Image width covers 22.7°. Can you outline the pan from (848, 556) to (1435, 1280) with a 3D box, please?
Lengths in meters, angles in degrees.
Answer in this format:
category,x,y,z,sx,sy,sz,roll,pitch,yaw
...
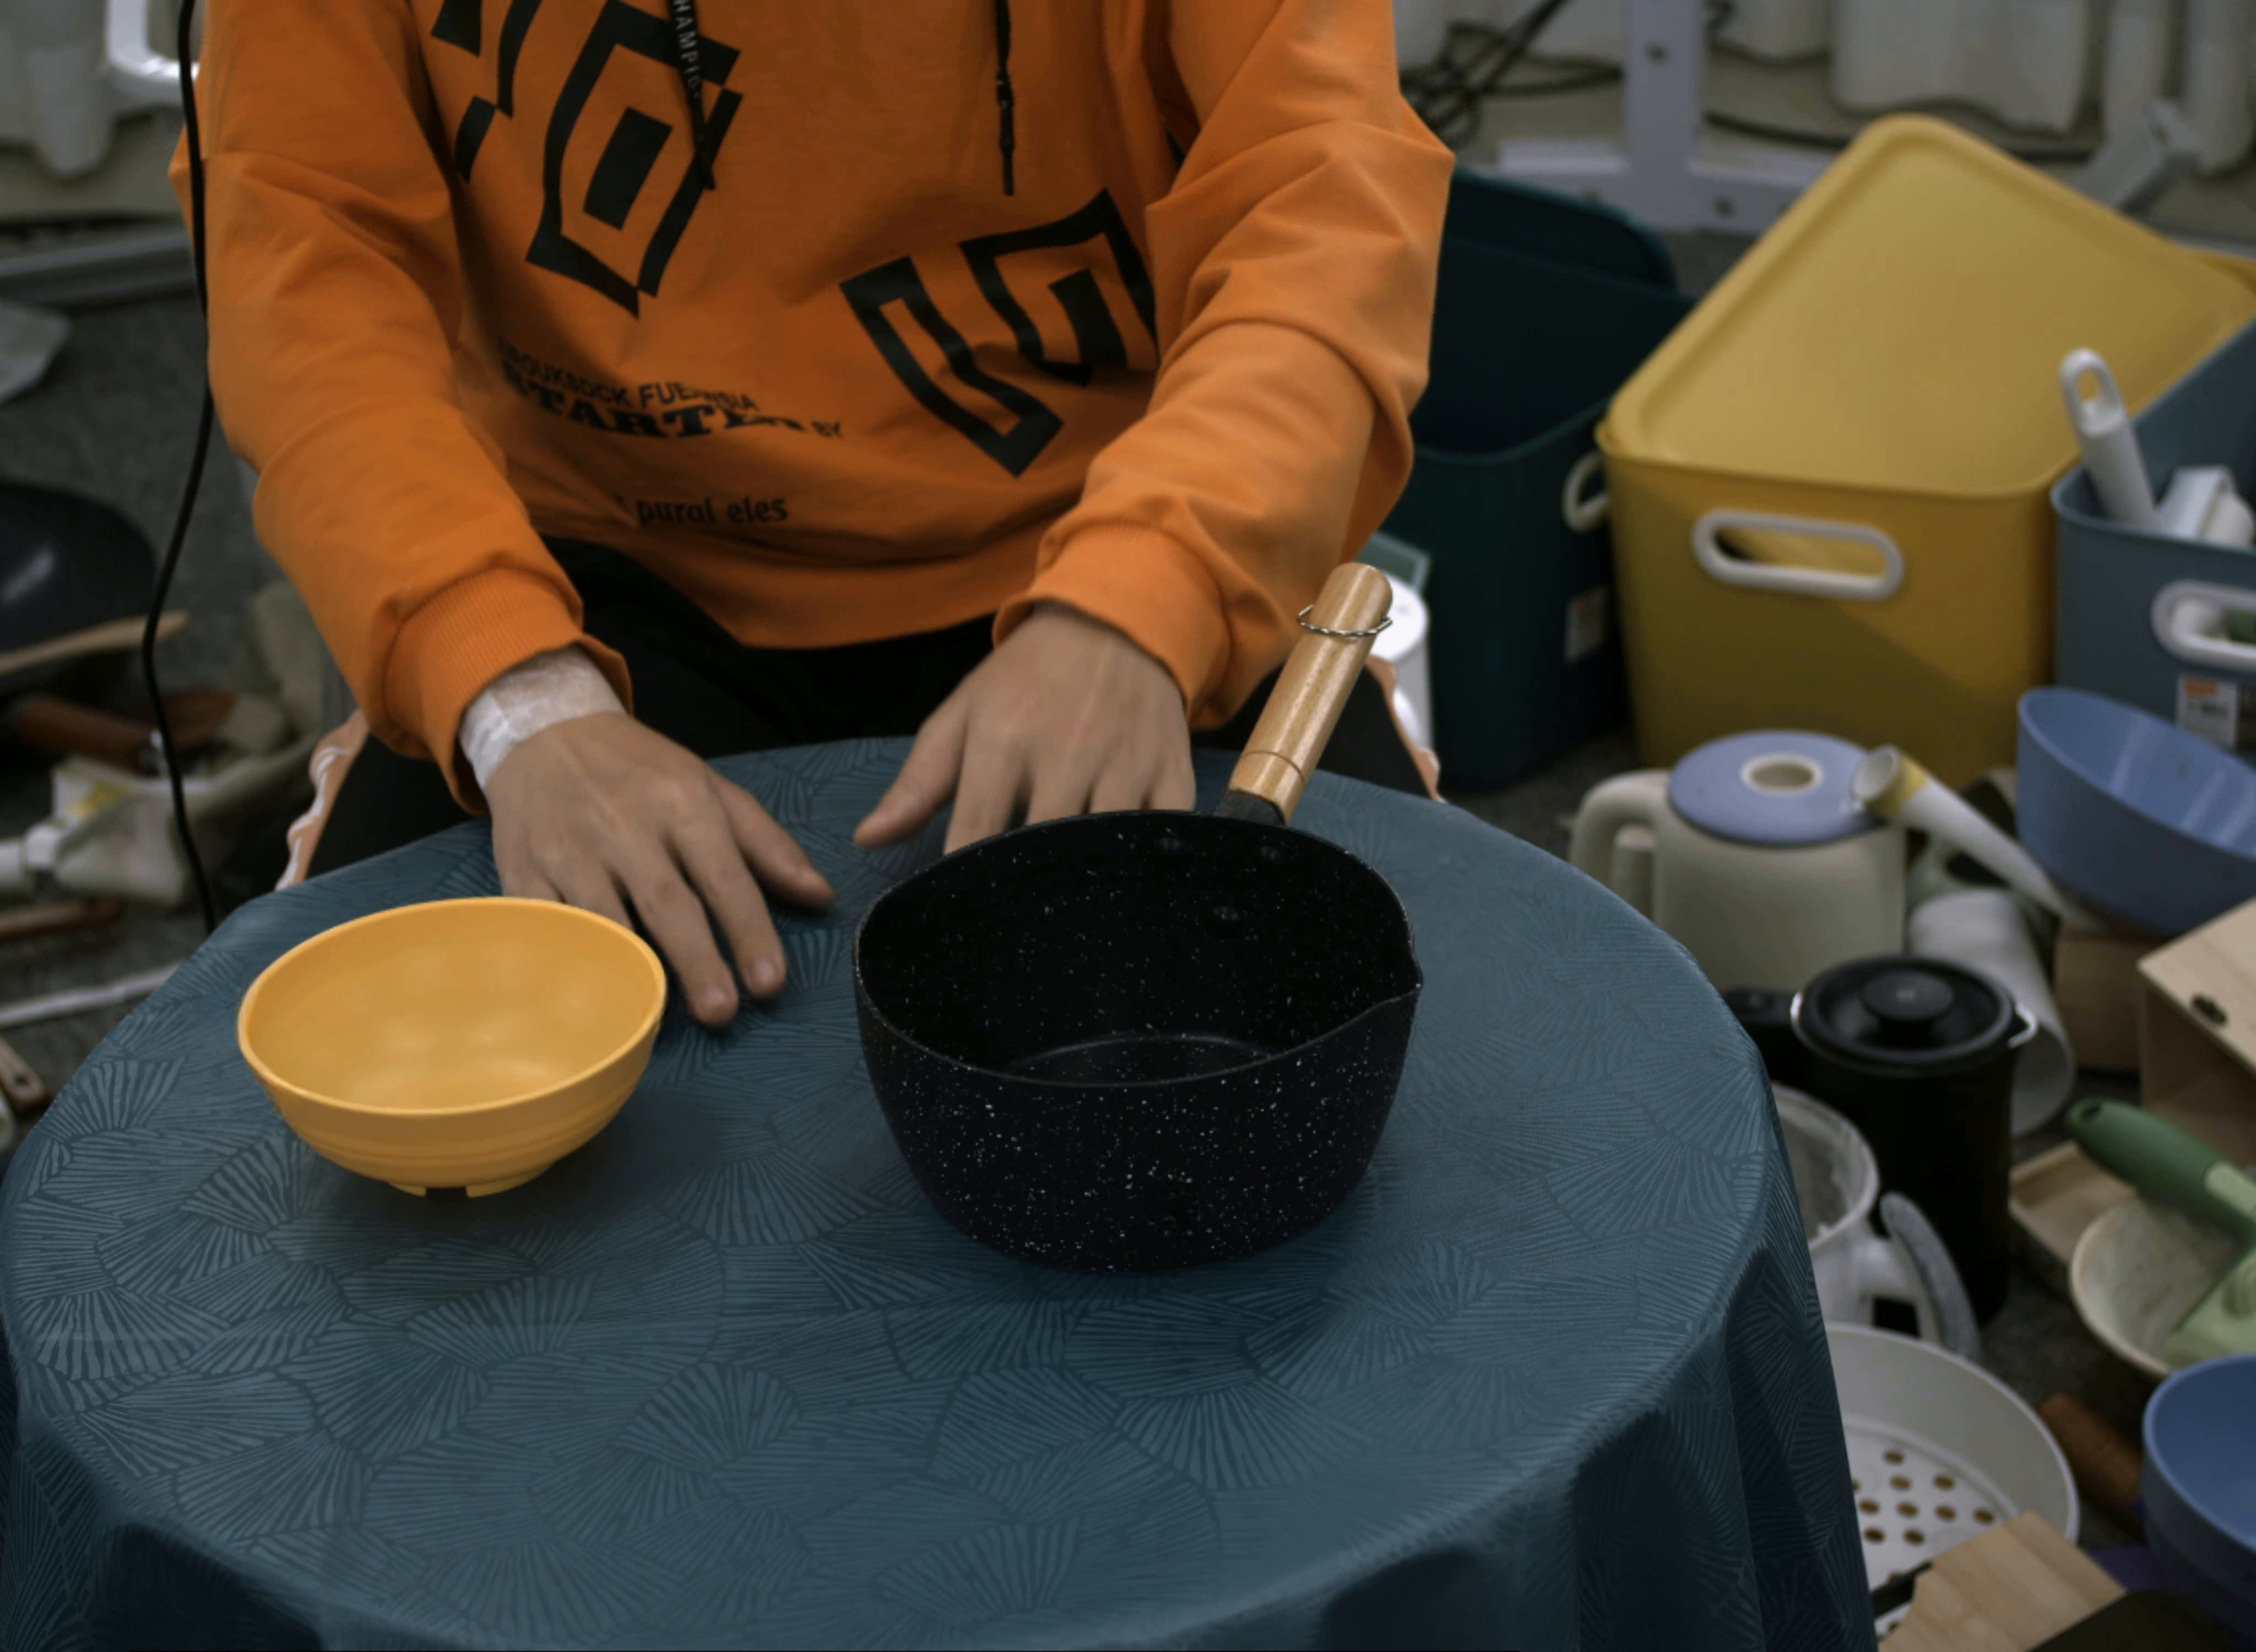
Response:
category,x,y,z,sx,sy,sz,roll,pitch,yaw
pan,0.029,0.028,1.924,0.206,0.107,0.349,5,30,19

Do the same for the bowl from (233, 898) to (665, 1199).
category,x,y,z,sx,sy,sz,roll,pitch,yaw
bowl,-0.226,0.085,1.893,0.144,0.059,0.147,-1,27,1
